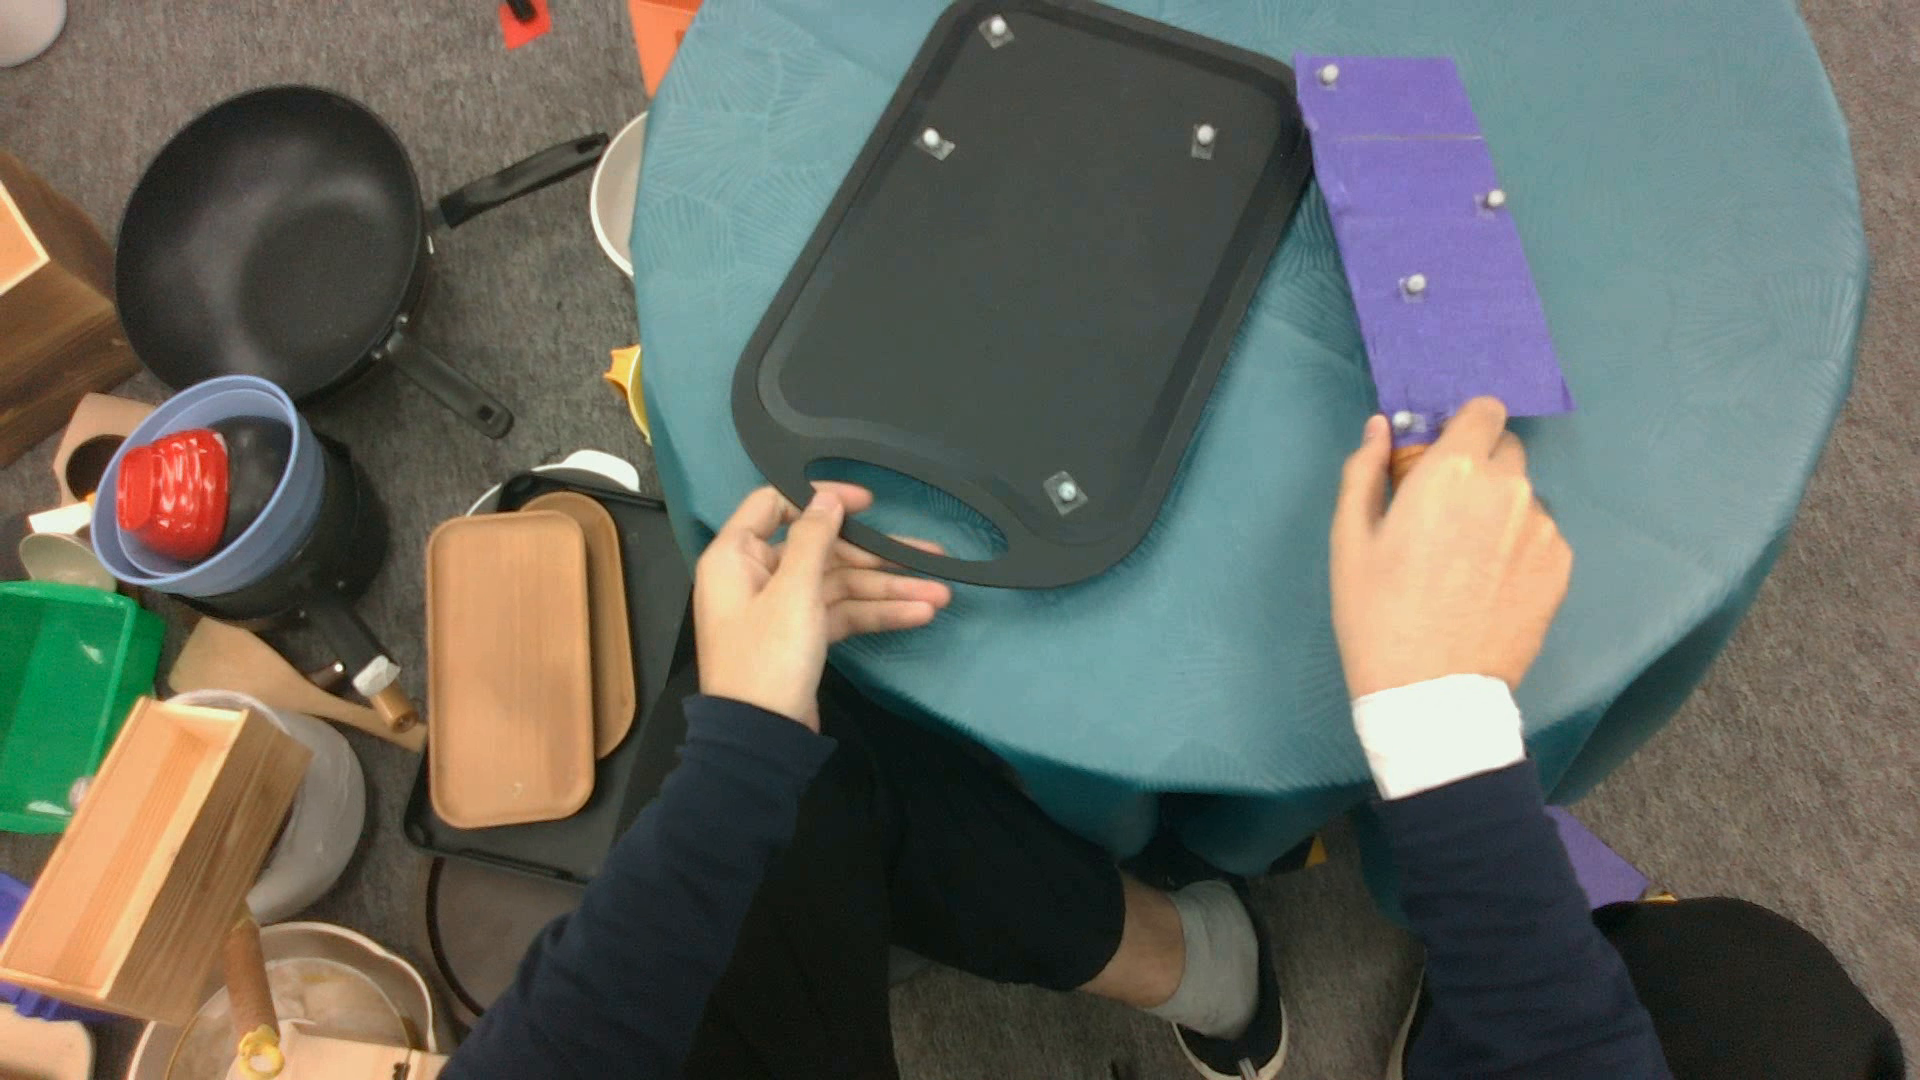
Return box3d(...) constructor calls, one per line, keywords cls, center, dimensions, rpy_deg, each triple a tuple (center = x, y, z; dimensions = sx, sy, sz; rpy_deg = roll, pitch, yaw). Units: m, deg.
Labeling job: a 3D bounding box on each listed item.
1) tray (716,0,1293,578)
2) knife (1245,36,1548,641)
box3d(cls="tray", center=(0.026, -0.136, 0.665), dimensions=(0.211, 0.010, 0.326), rpy_deg=(23, 71, 10))
box3d(cls="knife", center=(0.212, -0.109, 0.625), dimensions=(0.104, 0.032, 0.316), rpy_deg=(-5, 67, -8))
